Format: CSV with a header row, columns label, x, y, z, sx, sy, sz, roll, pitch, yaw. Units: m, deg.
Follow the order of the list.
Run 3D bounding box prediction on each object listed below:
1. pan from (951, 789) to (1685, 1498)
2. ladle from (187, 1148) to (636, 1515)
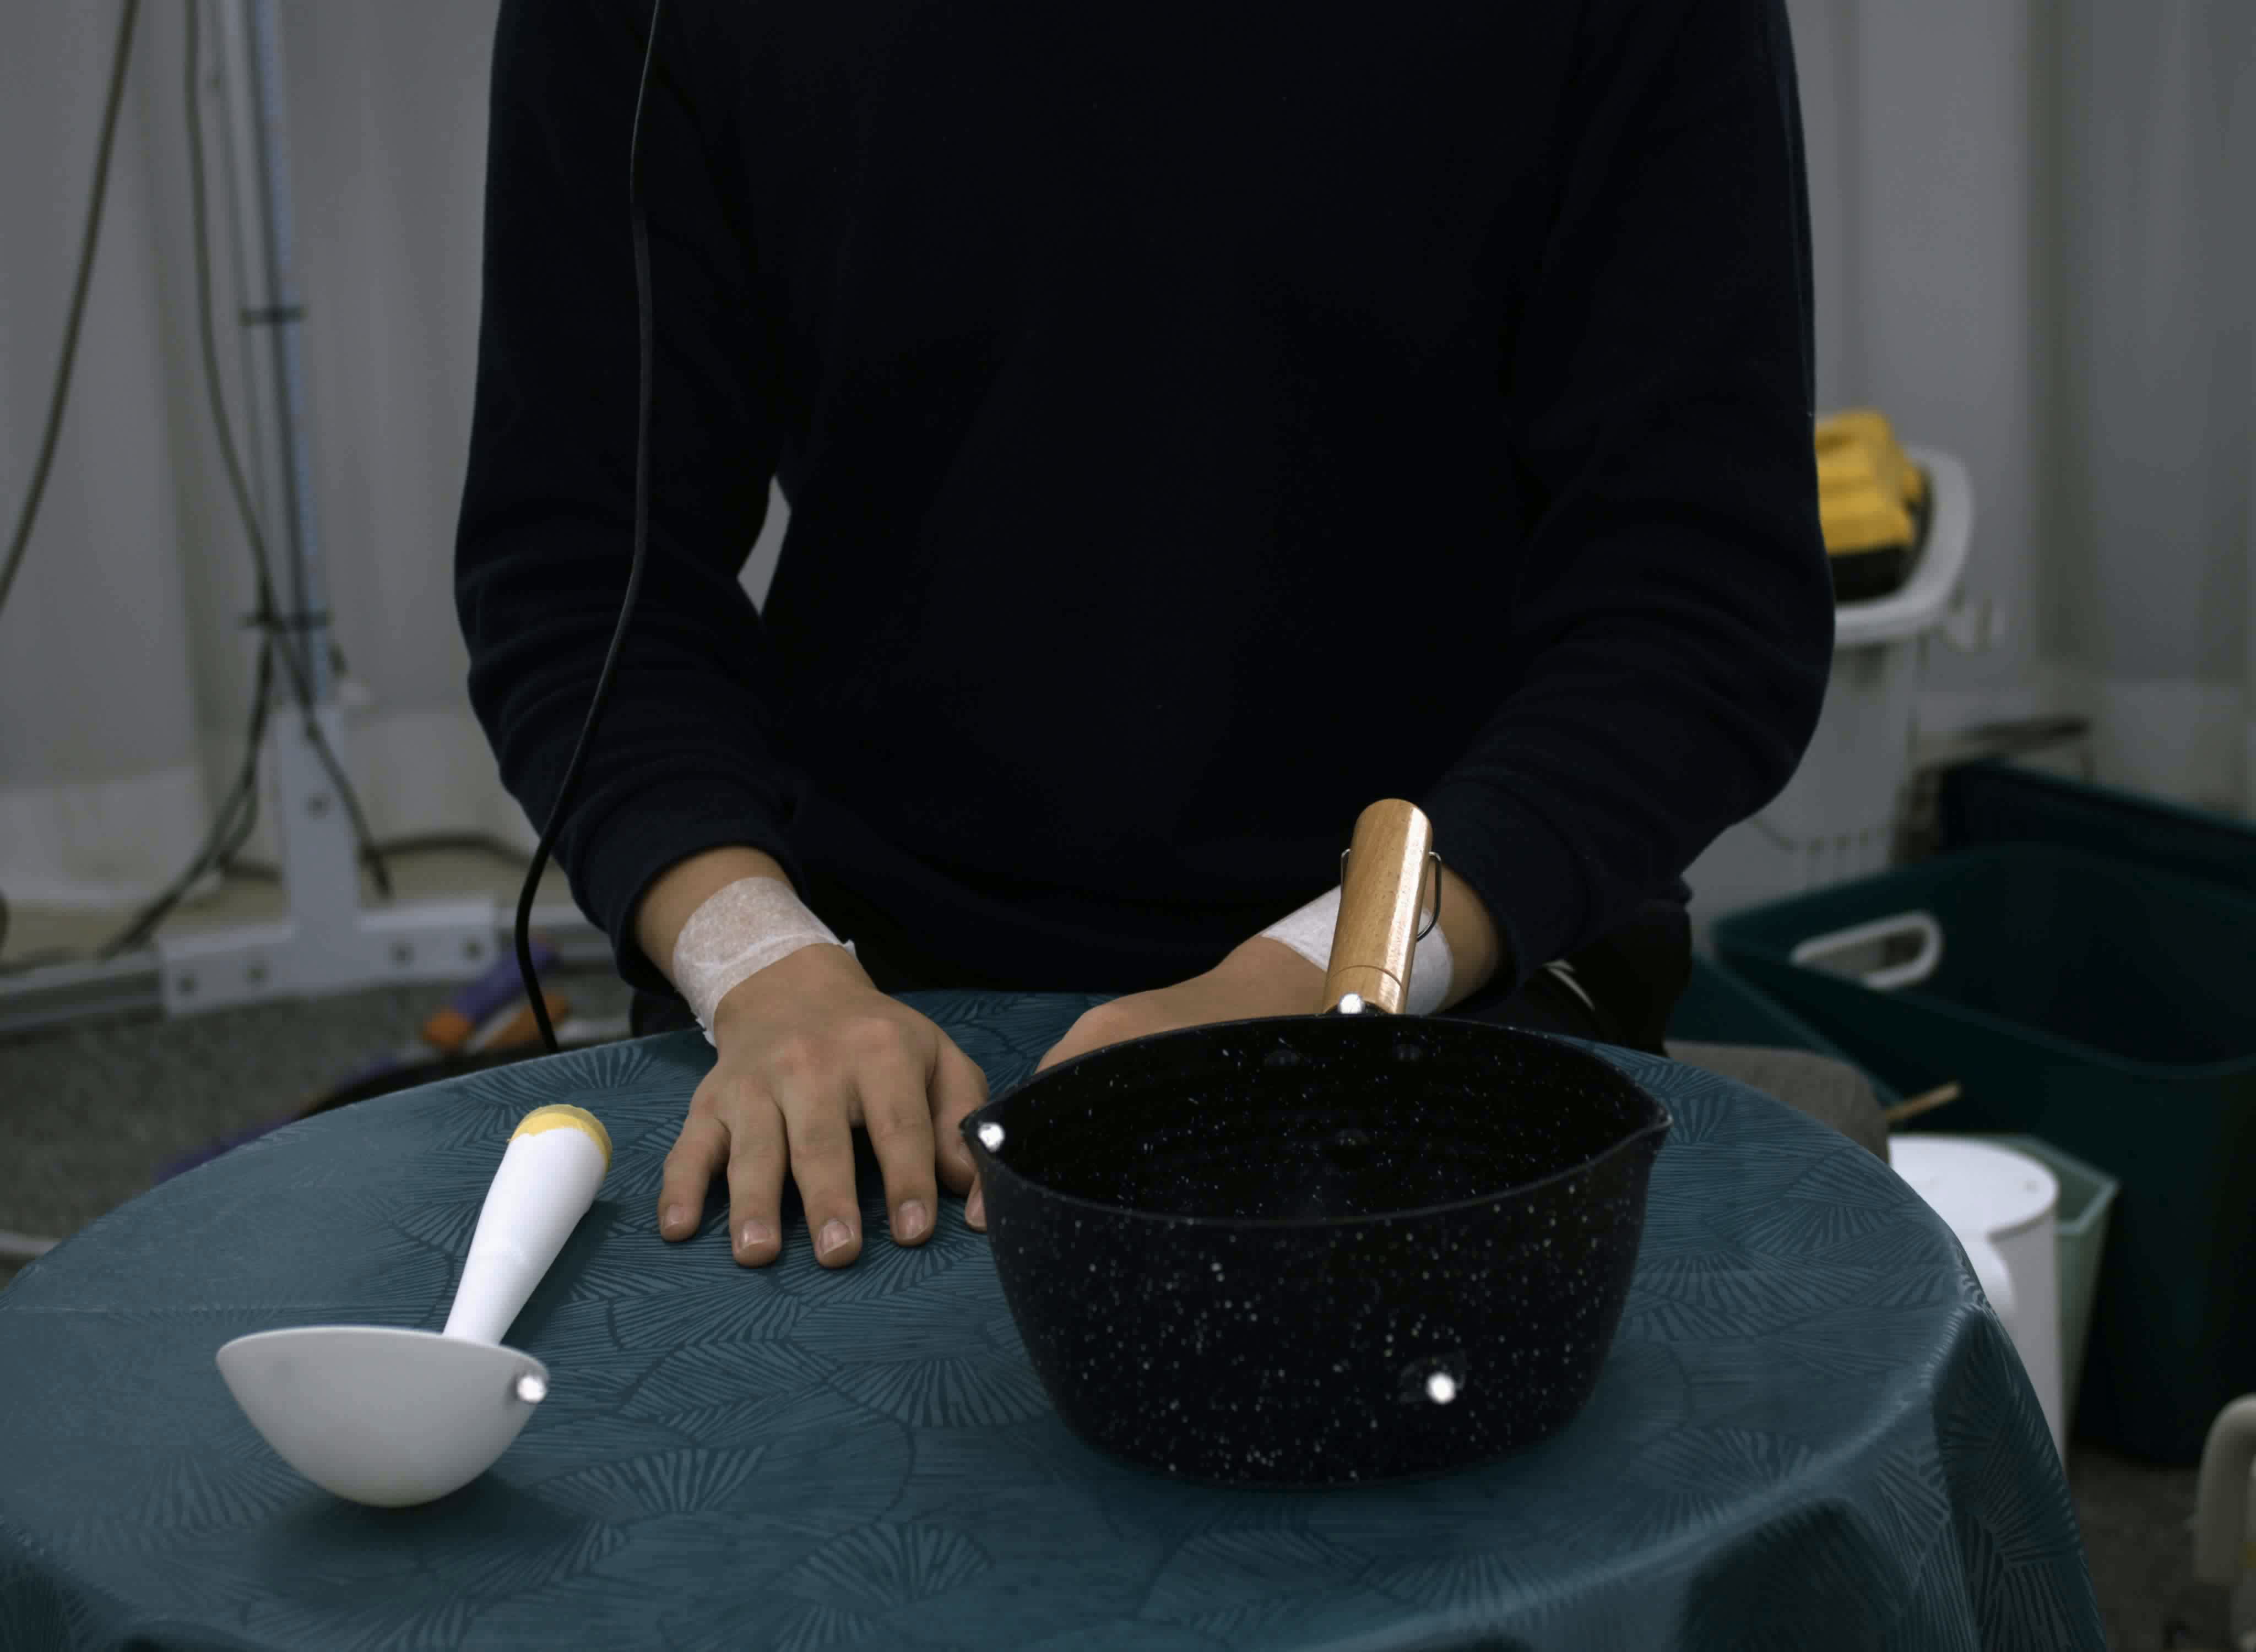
label,x,y,z,sx,sy,sz,roll,pitch,yaw
pan,0.062,0.087,1.598,0.207,0.108,0.345,-2,16,8
ladle,-0.192,0.131,1.588,0.090,0.070,0.294,-6,12,9
